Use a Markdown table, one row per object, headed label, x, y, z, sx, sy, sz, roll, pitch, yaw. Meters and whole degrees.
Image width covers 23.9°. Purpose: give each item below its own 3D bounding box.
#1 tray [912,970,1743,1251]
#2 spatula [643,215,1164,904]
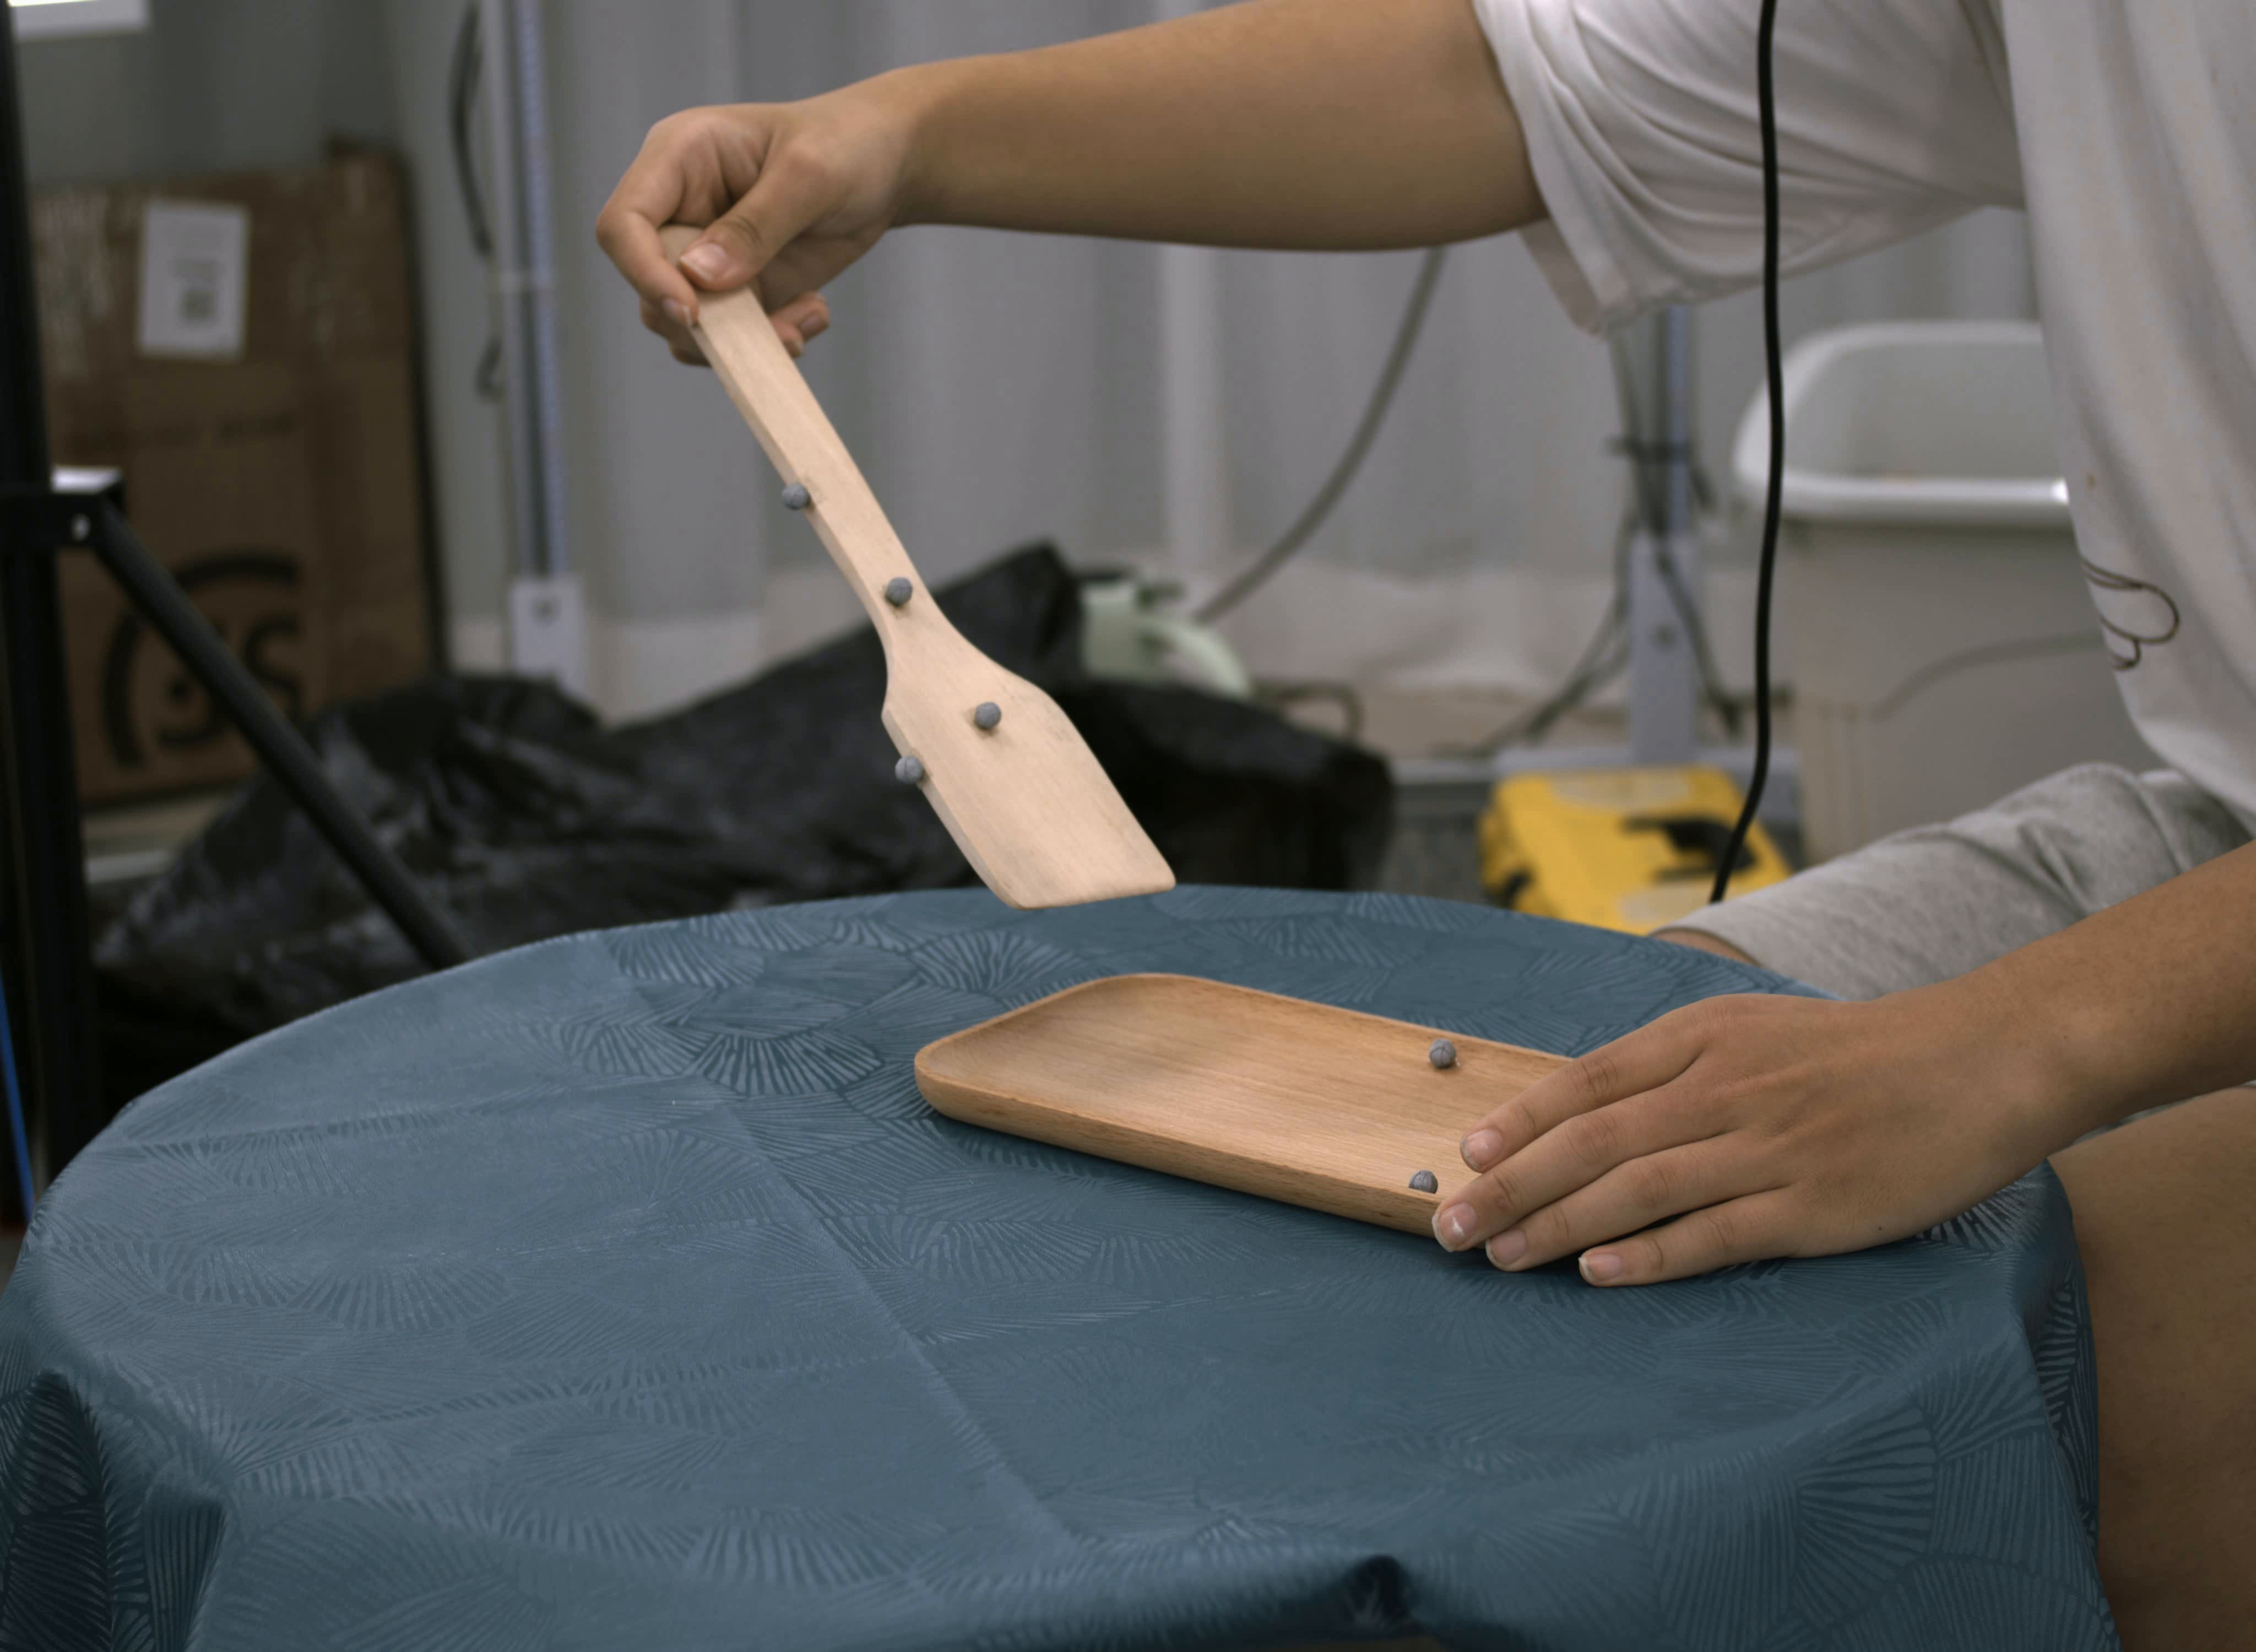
| label | x | y | z | sx | sy | sz | roll | pitch | yaw |
| --- | --- | --- | --- | --- | --- | --- | --- | --- | --- |
| tray | 0.058 | 0.084 | 1.606 | 0.256 | 0.023 | 0.127 | 11 | 18 | 41 |
| spatula | -0.084 | -0.089 | 1.713 | 0.070 | 0.011 | 0.298 | -7 | 54 | -41 |
